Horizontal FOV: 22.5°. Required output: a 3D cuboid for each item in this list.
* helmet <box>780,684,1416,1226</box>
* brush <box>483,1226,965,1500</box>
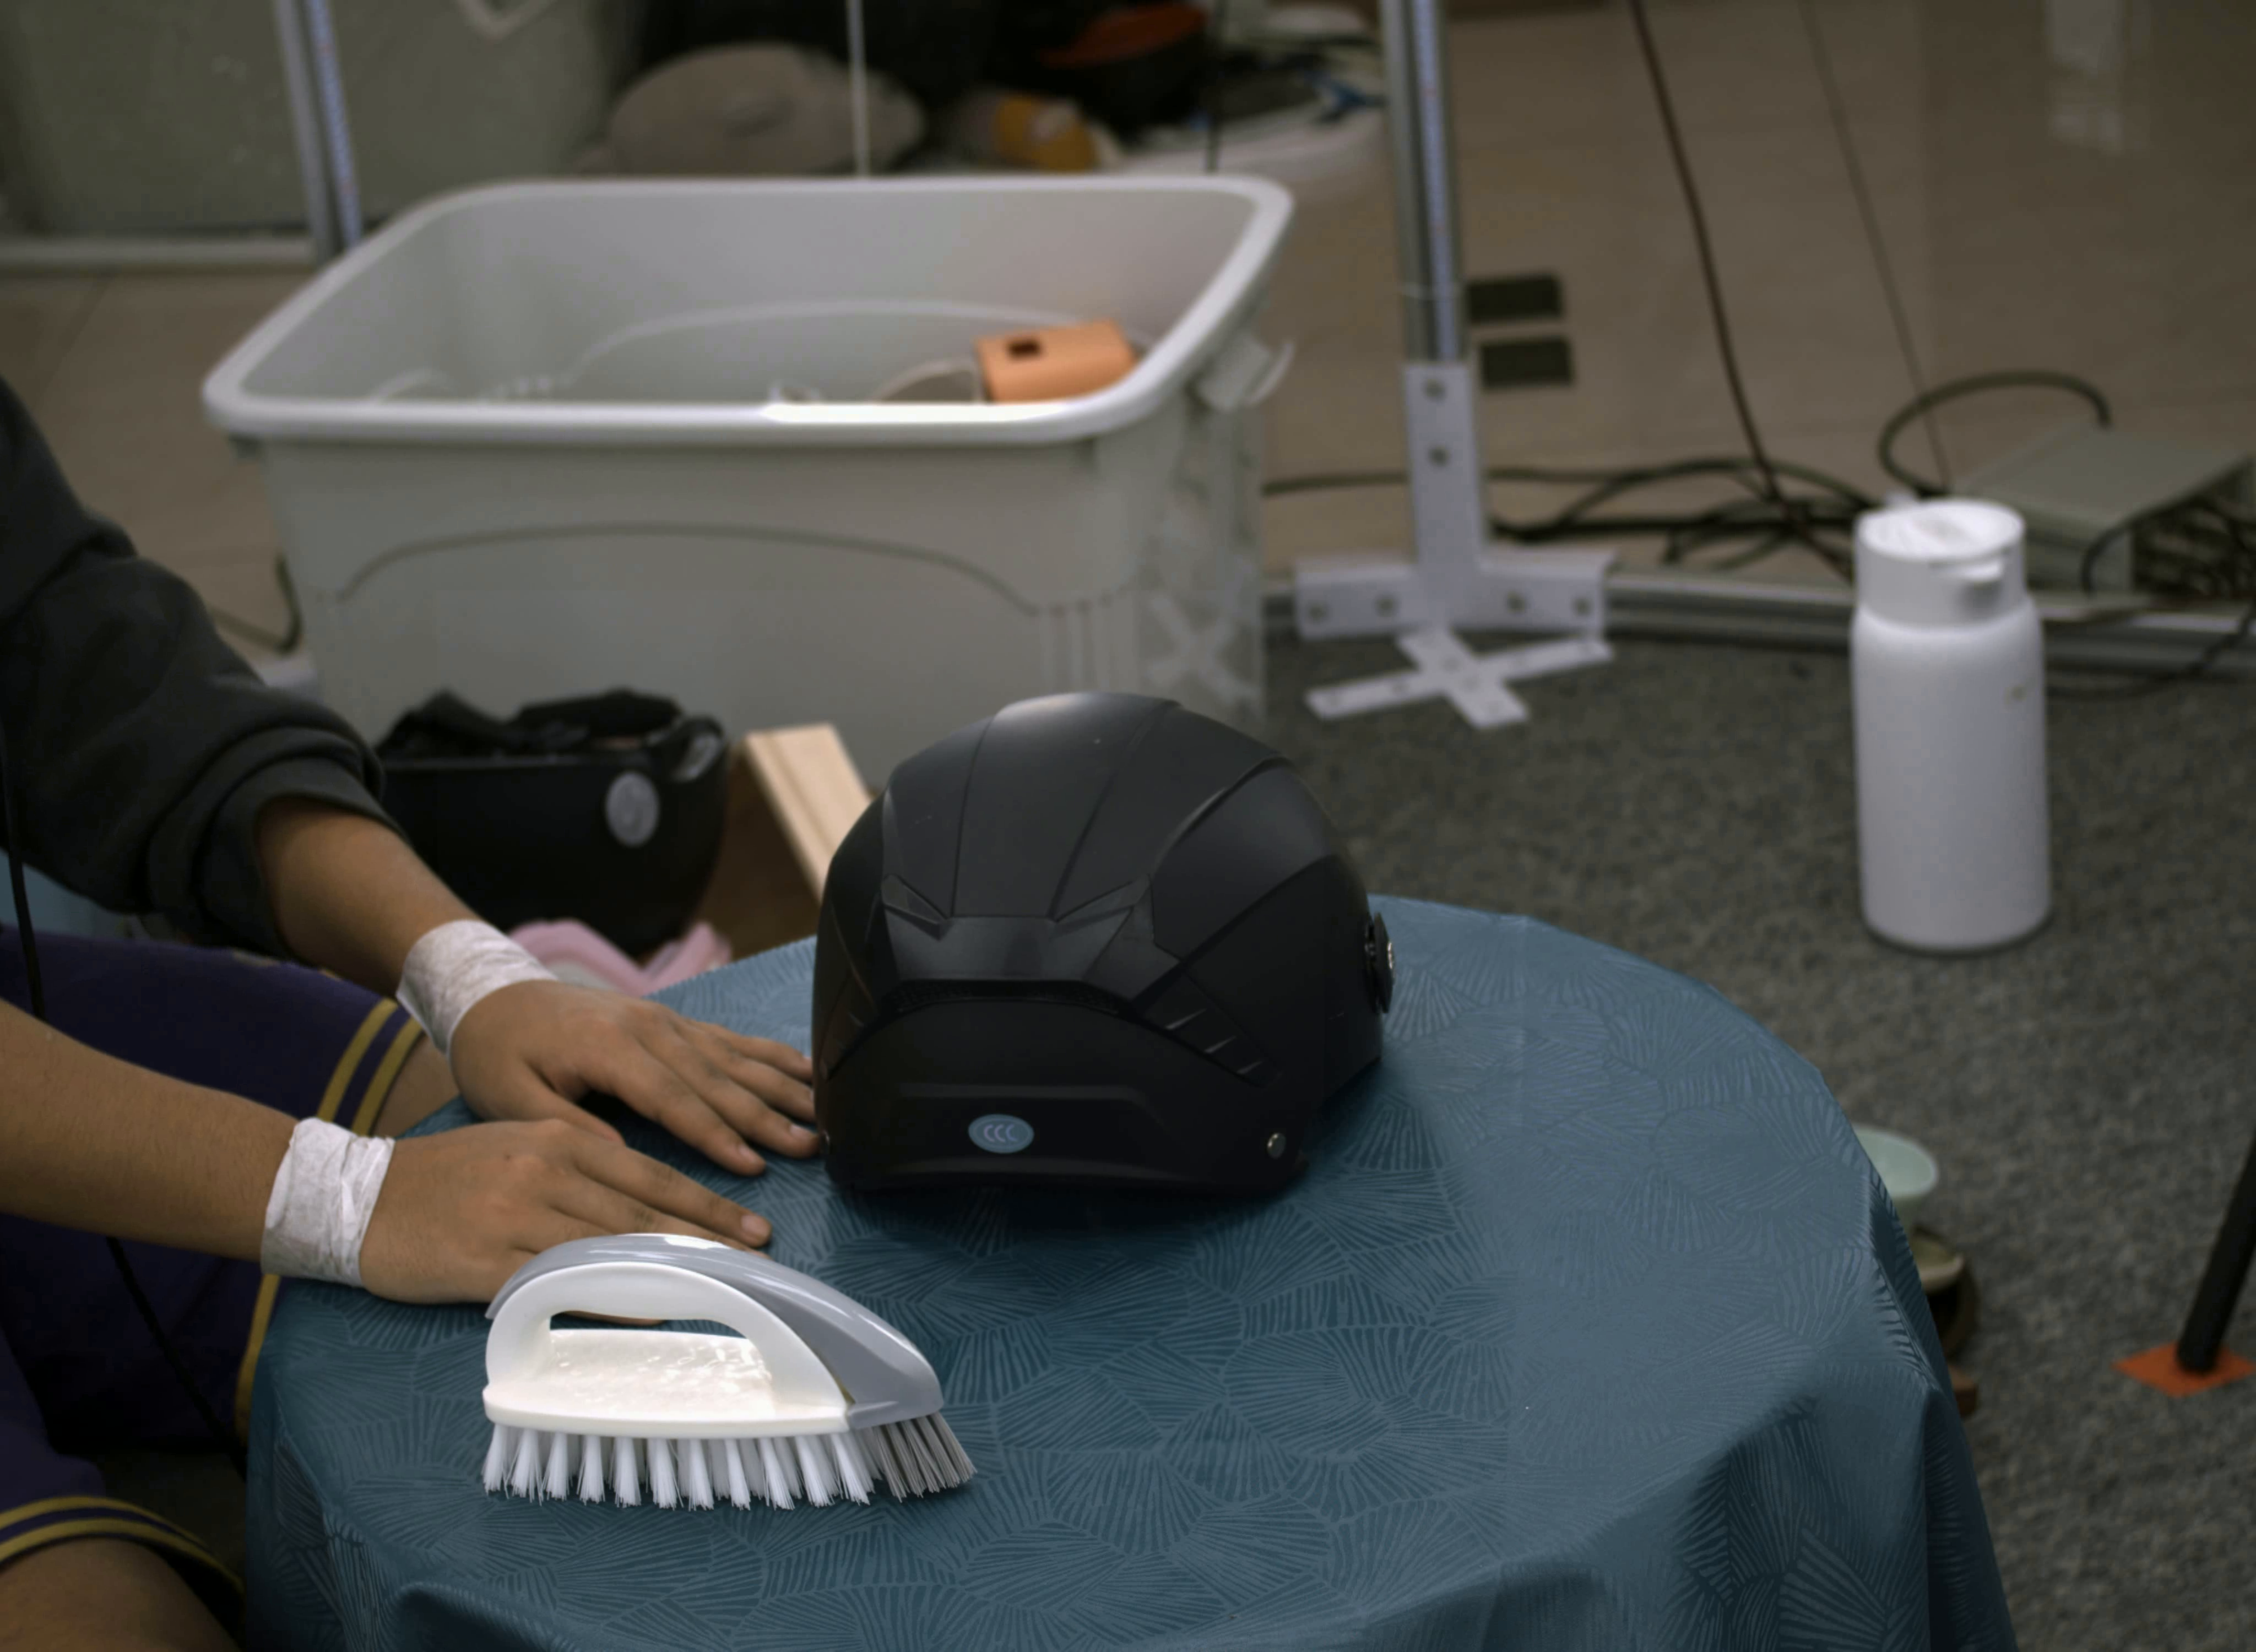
[{"bbox_3d":[-0.015,0.034,2.186,0.246,0.175,0.272,2,31,15],"label":"helmet"},{"bbox_3d":[-0.143,0.184,1.977,0.175,0.096,0.060,4,29,18],"label":"brush"}]
